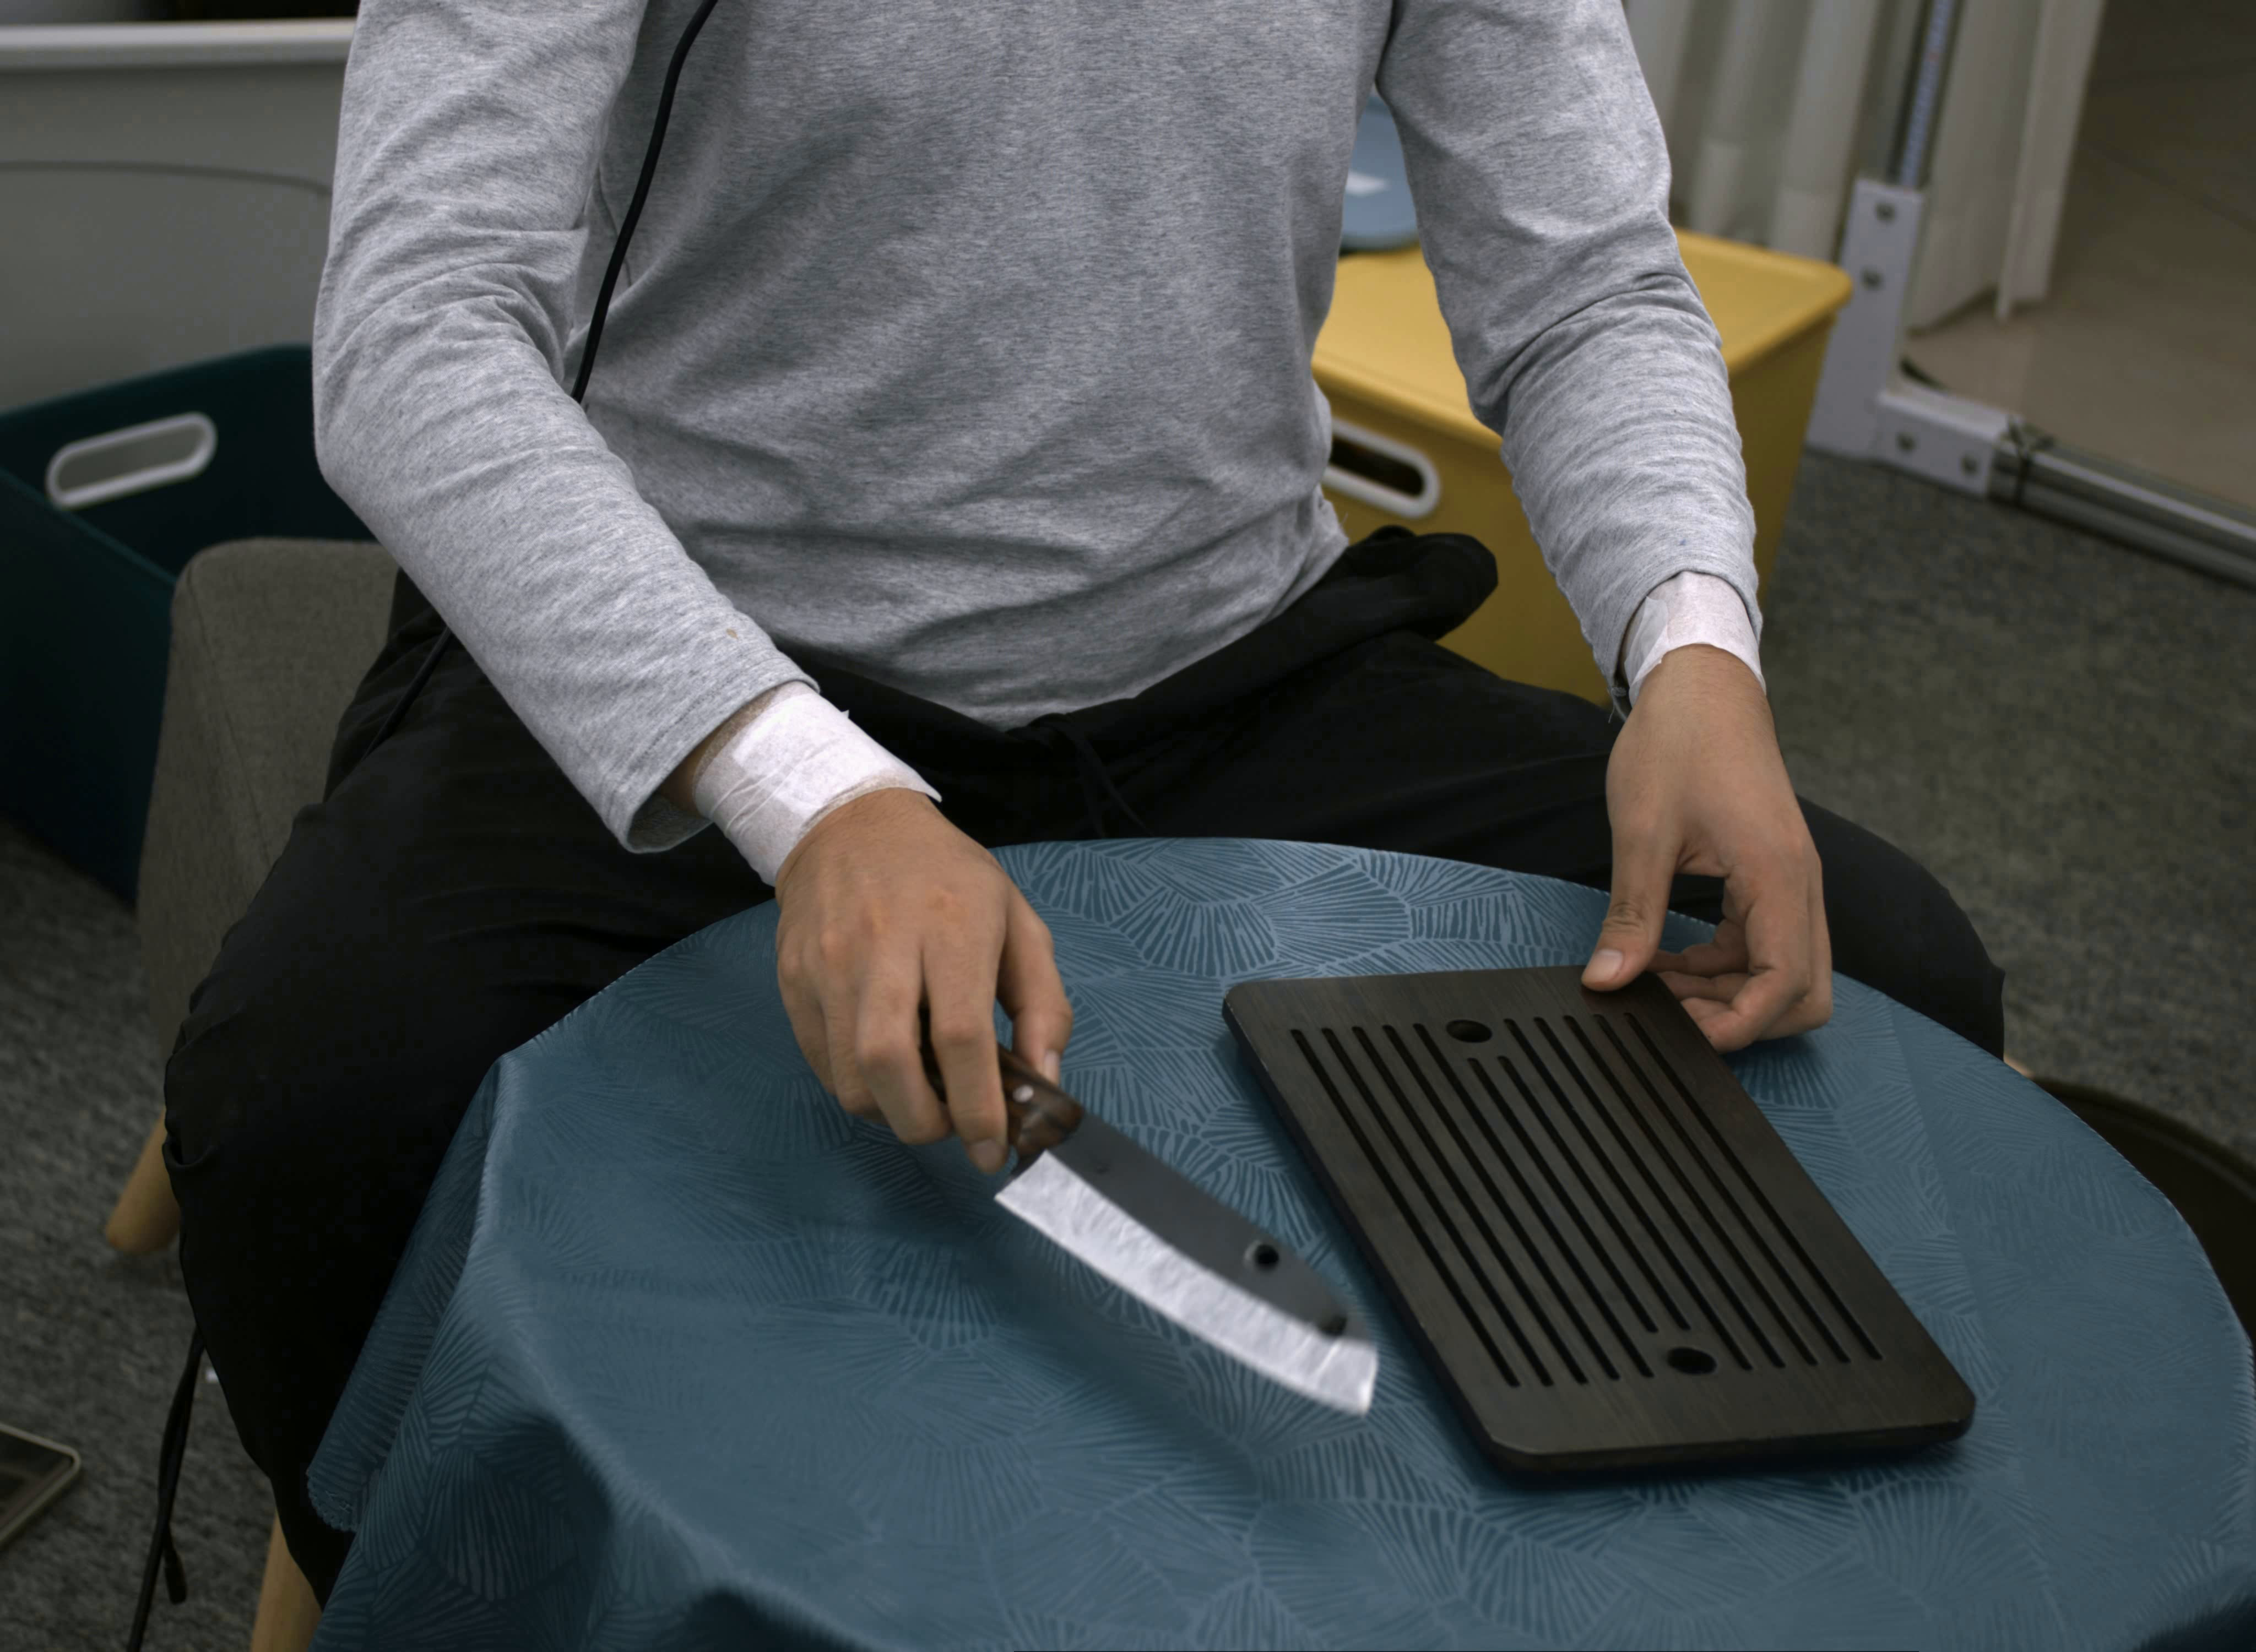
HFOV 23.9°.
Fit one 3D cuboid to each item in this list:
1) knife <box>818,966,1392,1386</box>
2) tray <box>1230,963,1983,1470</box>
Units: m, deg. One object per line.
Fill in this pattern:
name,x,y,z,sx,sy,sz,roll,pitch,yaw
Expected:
knife,-0.010,0.112,1.722,0.050,0.020,0.291,-43,45,-15
tray,0.155,0.129,1.810,0.169,0.018,0.308,-2,28,-16
